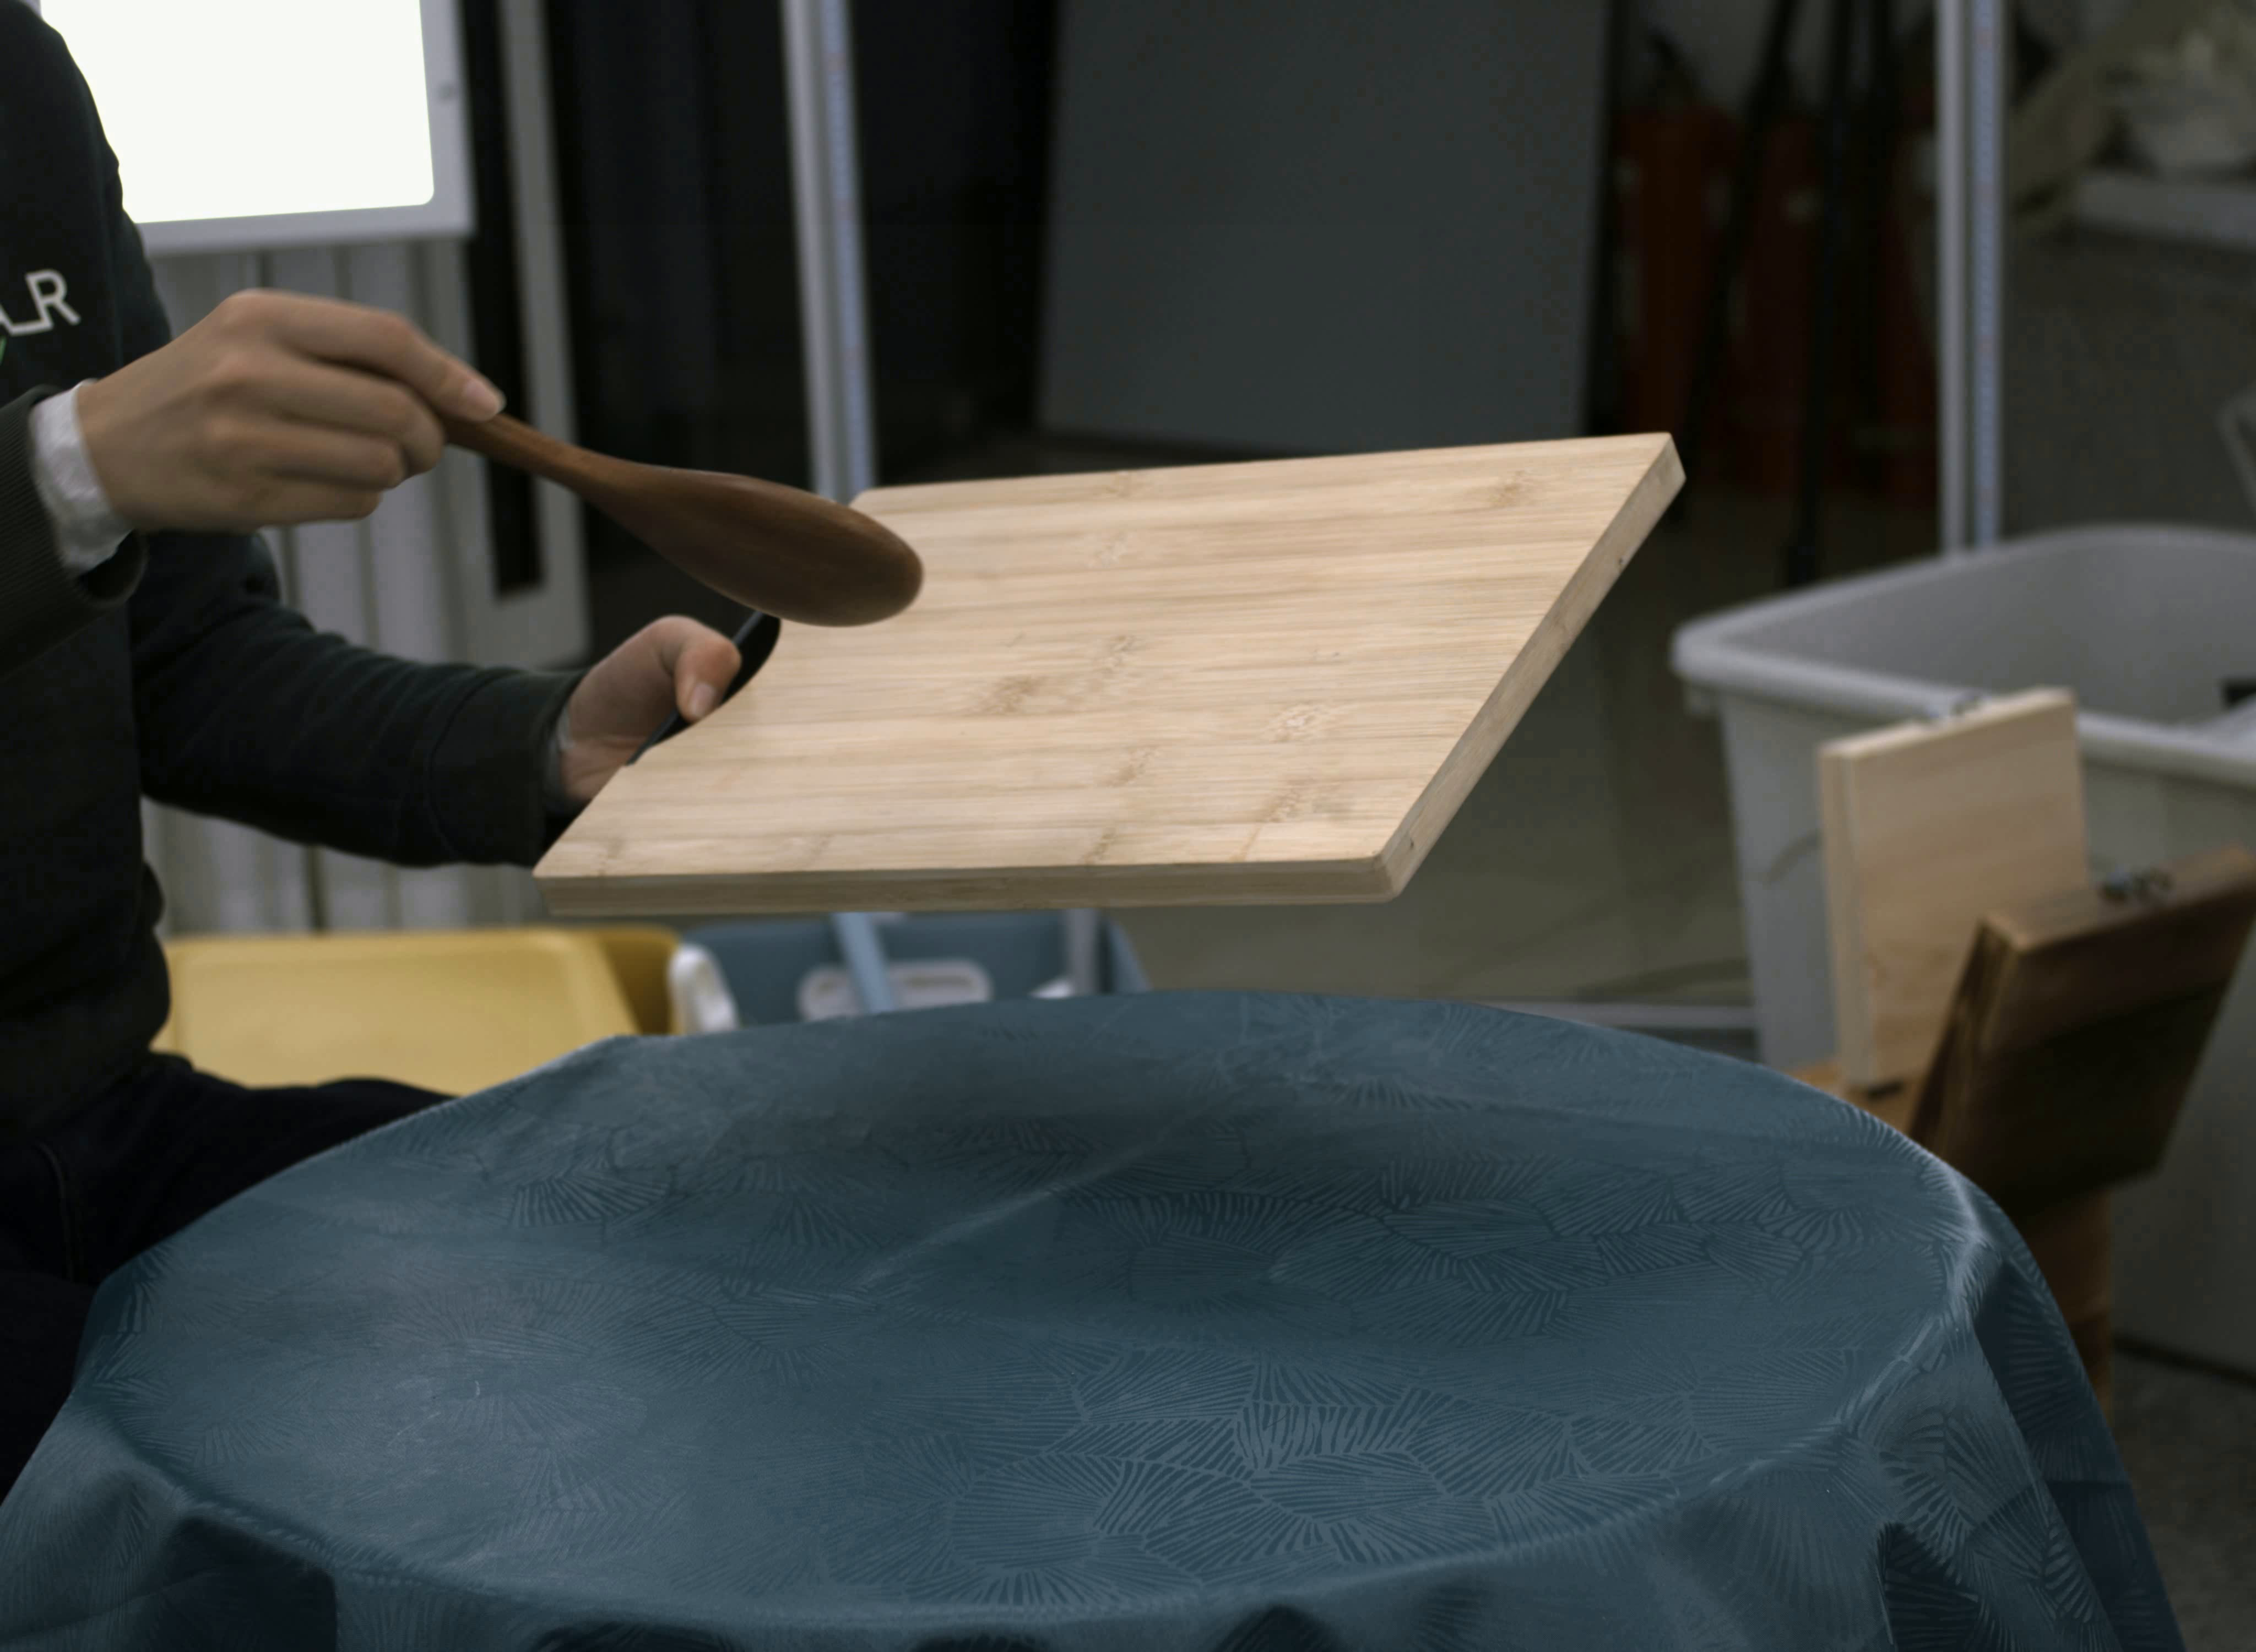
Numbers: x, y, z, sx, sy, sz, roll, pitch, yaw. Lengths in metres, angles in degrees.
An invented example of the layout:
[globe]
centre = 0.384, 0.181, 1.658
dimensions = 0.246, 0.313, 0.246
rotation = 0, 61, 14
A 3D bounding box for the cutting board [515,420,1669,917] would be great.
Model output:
[cutting board]
centre = -0.013, -0.051, 1.808
dimensions = 0.350, 0.023, 0.249
rotation = -3, 33, 35

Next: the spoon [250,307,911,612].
[spoon]
centre = -0.165, -0.108, 1.651
dimensions = 0.212, 0.017, 0.076
rotation = 23, -22, -16
